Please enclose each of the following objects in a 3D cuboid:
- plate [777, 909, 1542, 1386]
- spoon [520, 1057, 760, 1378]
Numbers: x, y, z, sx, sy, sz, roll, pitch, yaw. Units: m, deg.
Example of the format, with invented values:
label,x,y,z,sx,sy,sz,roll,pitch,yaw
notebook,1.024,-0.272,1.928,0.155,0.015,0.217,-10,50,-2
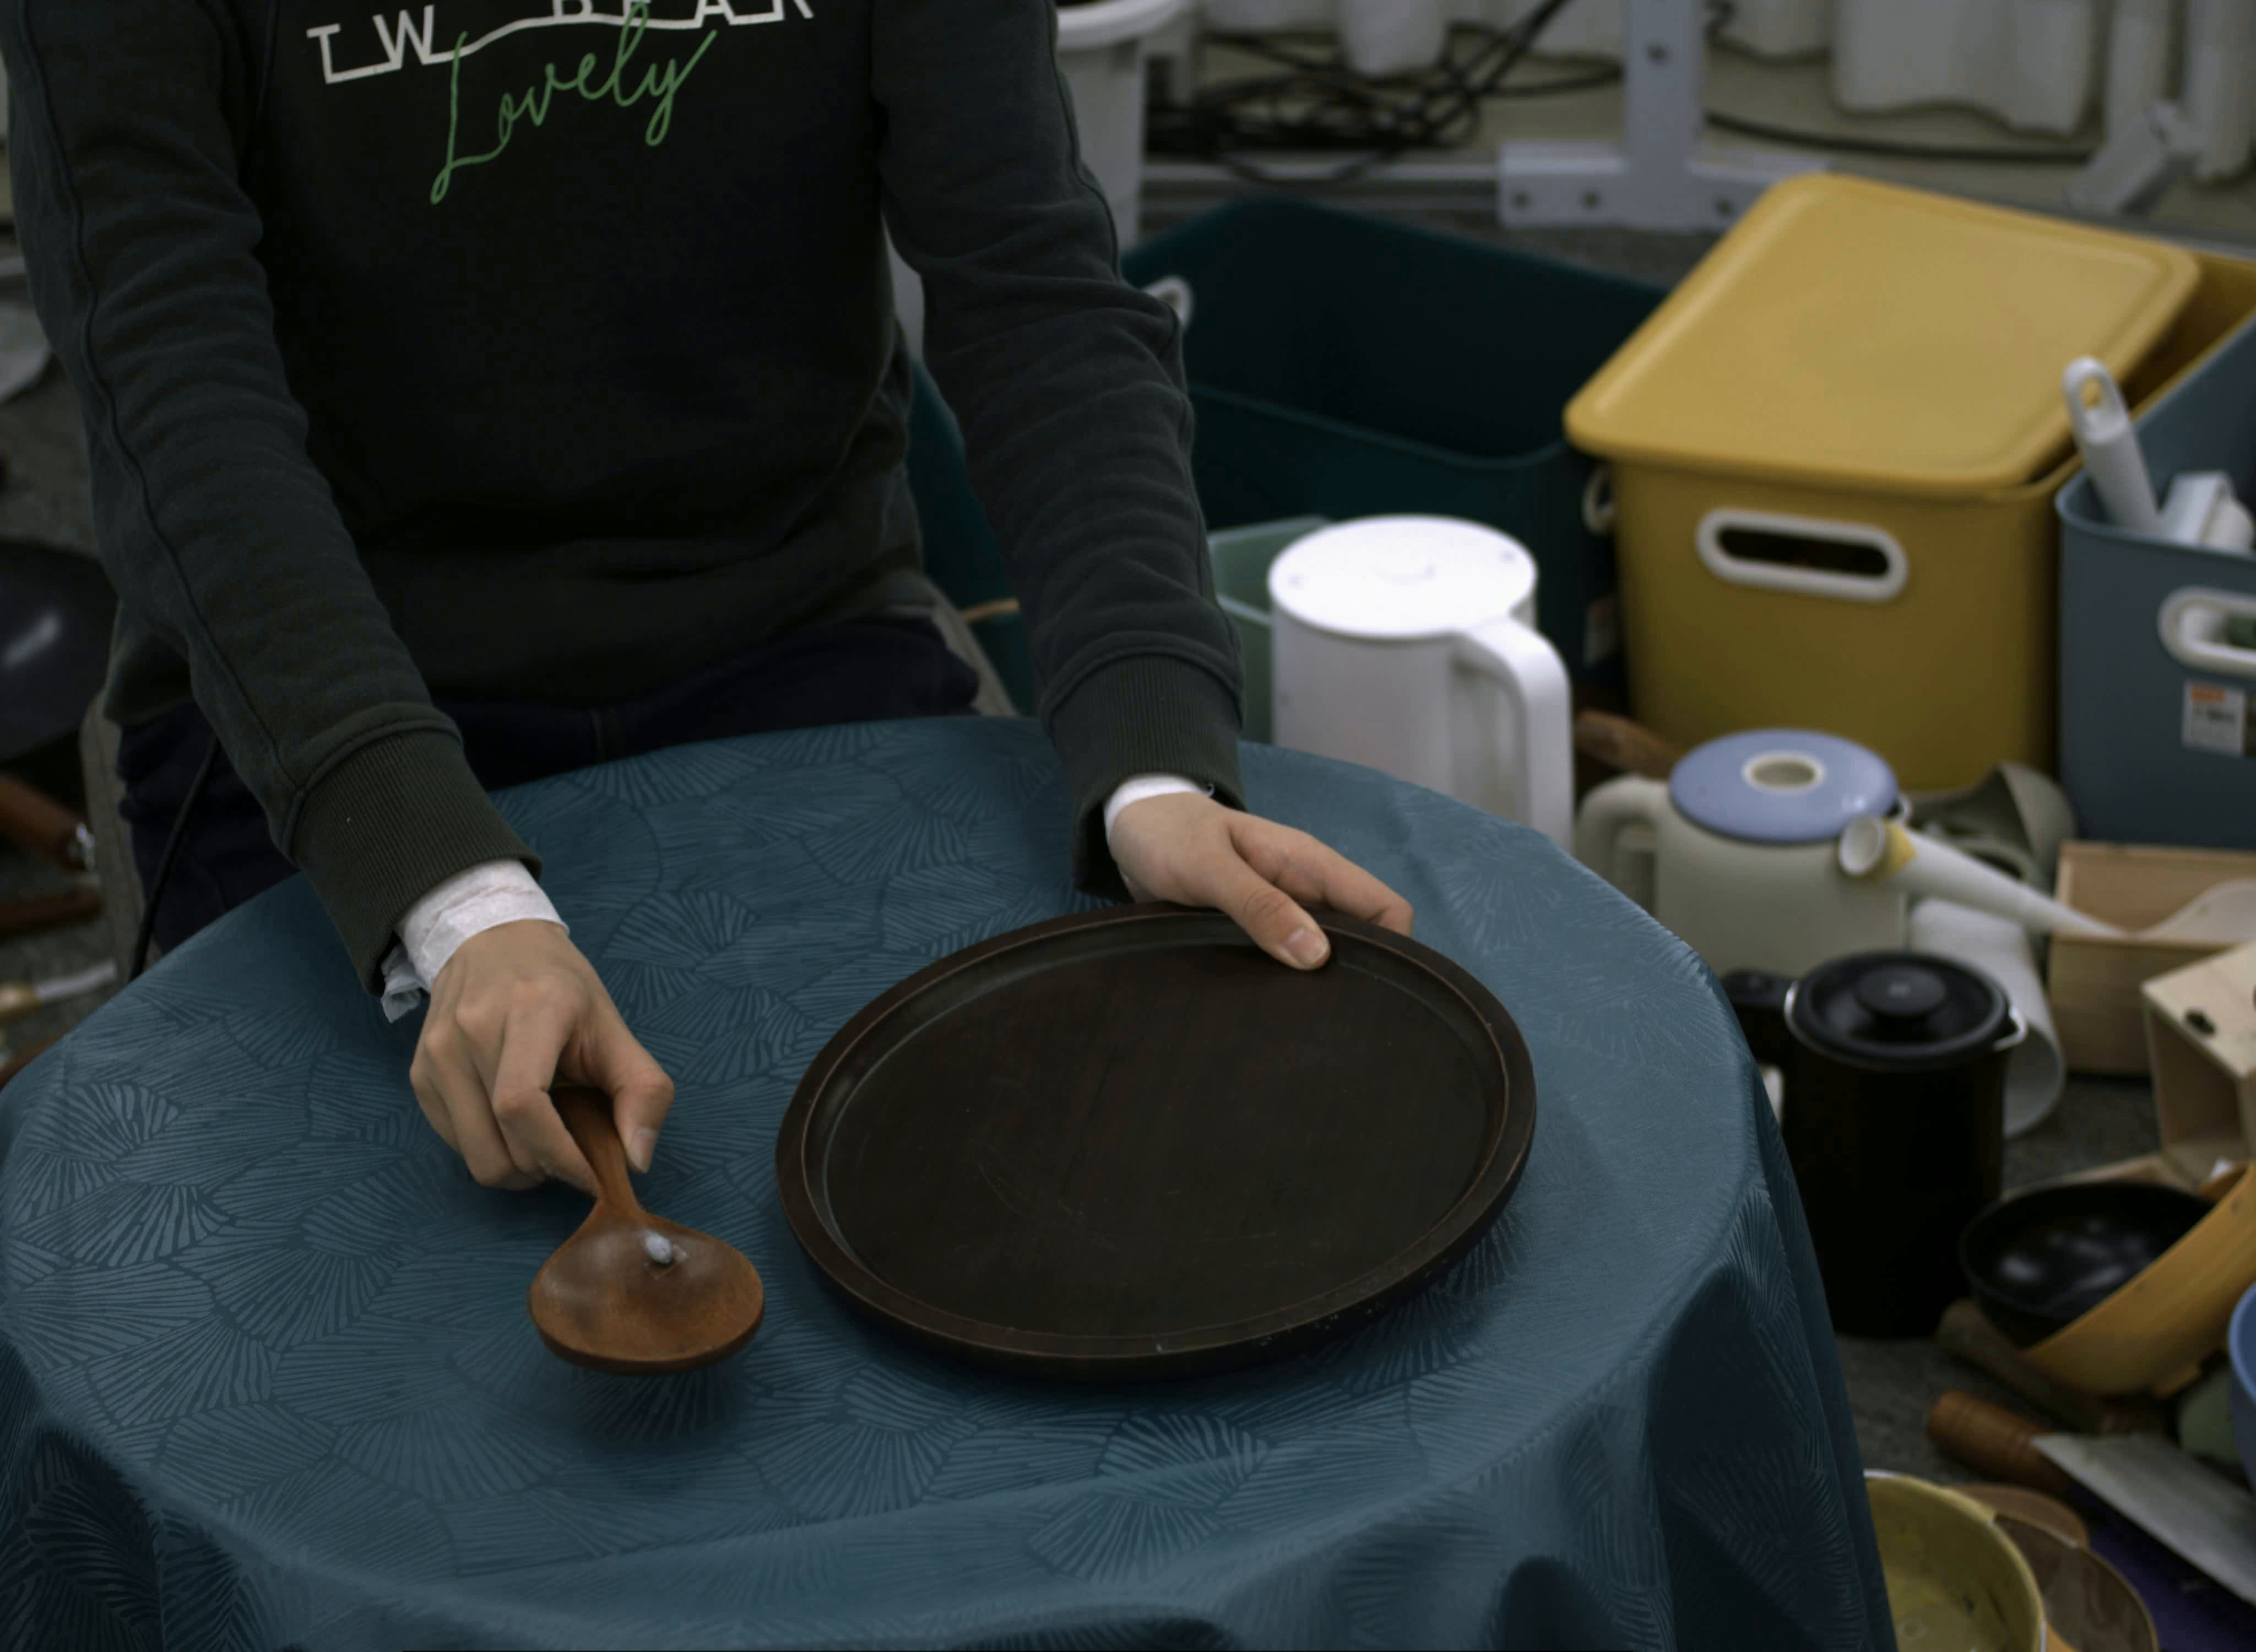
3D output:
label,x,y,z,sx,sy,sz,roll,pitch,yaw
plate,0.010,0.103,1.845,0.253,0.028,0.259,-4,33,3
spoon,-0.167,0.127,1.814,0.075,0.017,0.218,-6,25,-12
